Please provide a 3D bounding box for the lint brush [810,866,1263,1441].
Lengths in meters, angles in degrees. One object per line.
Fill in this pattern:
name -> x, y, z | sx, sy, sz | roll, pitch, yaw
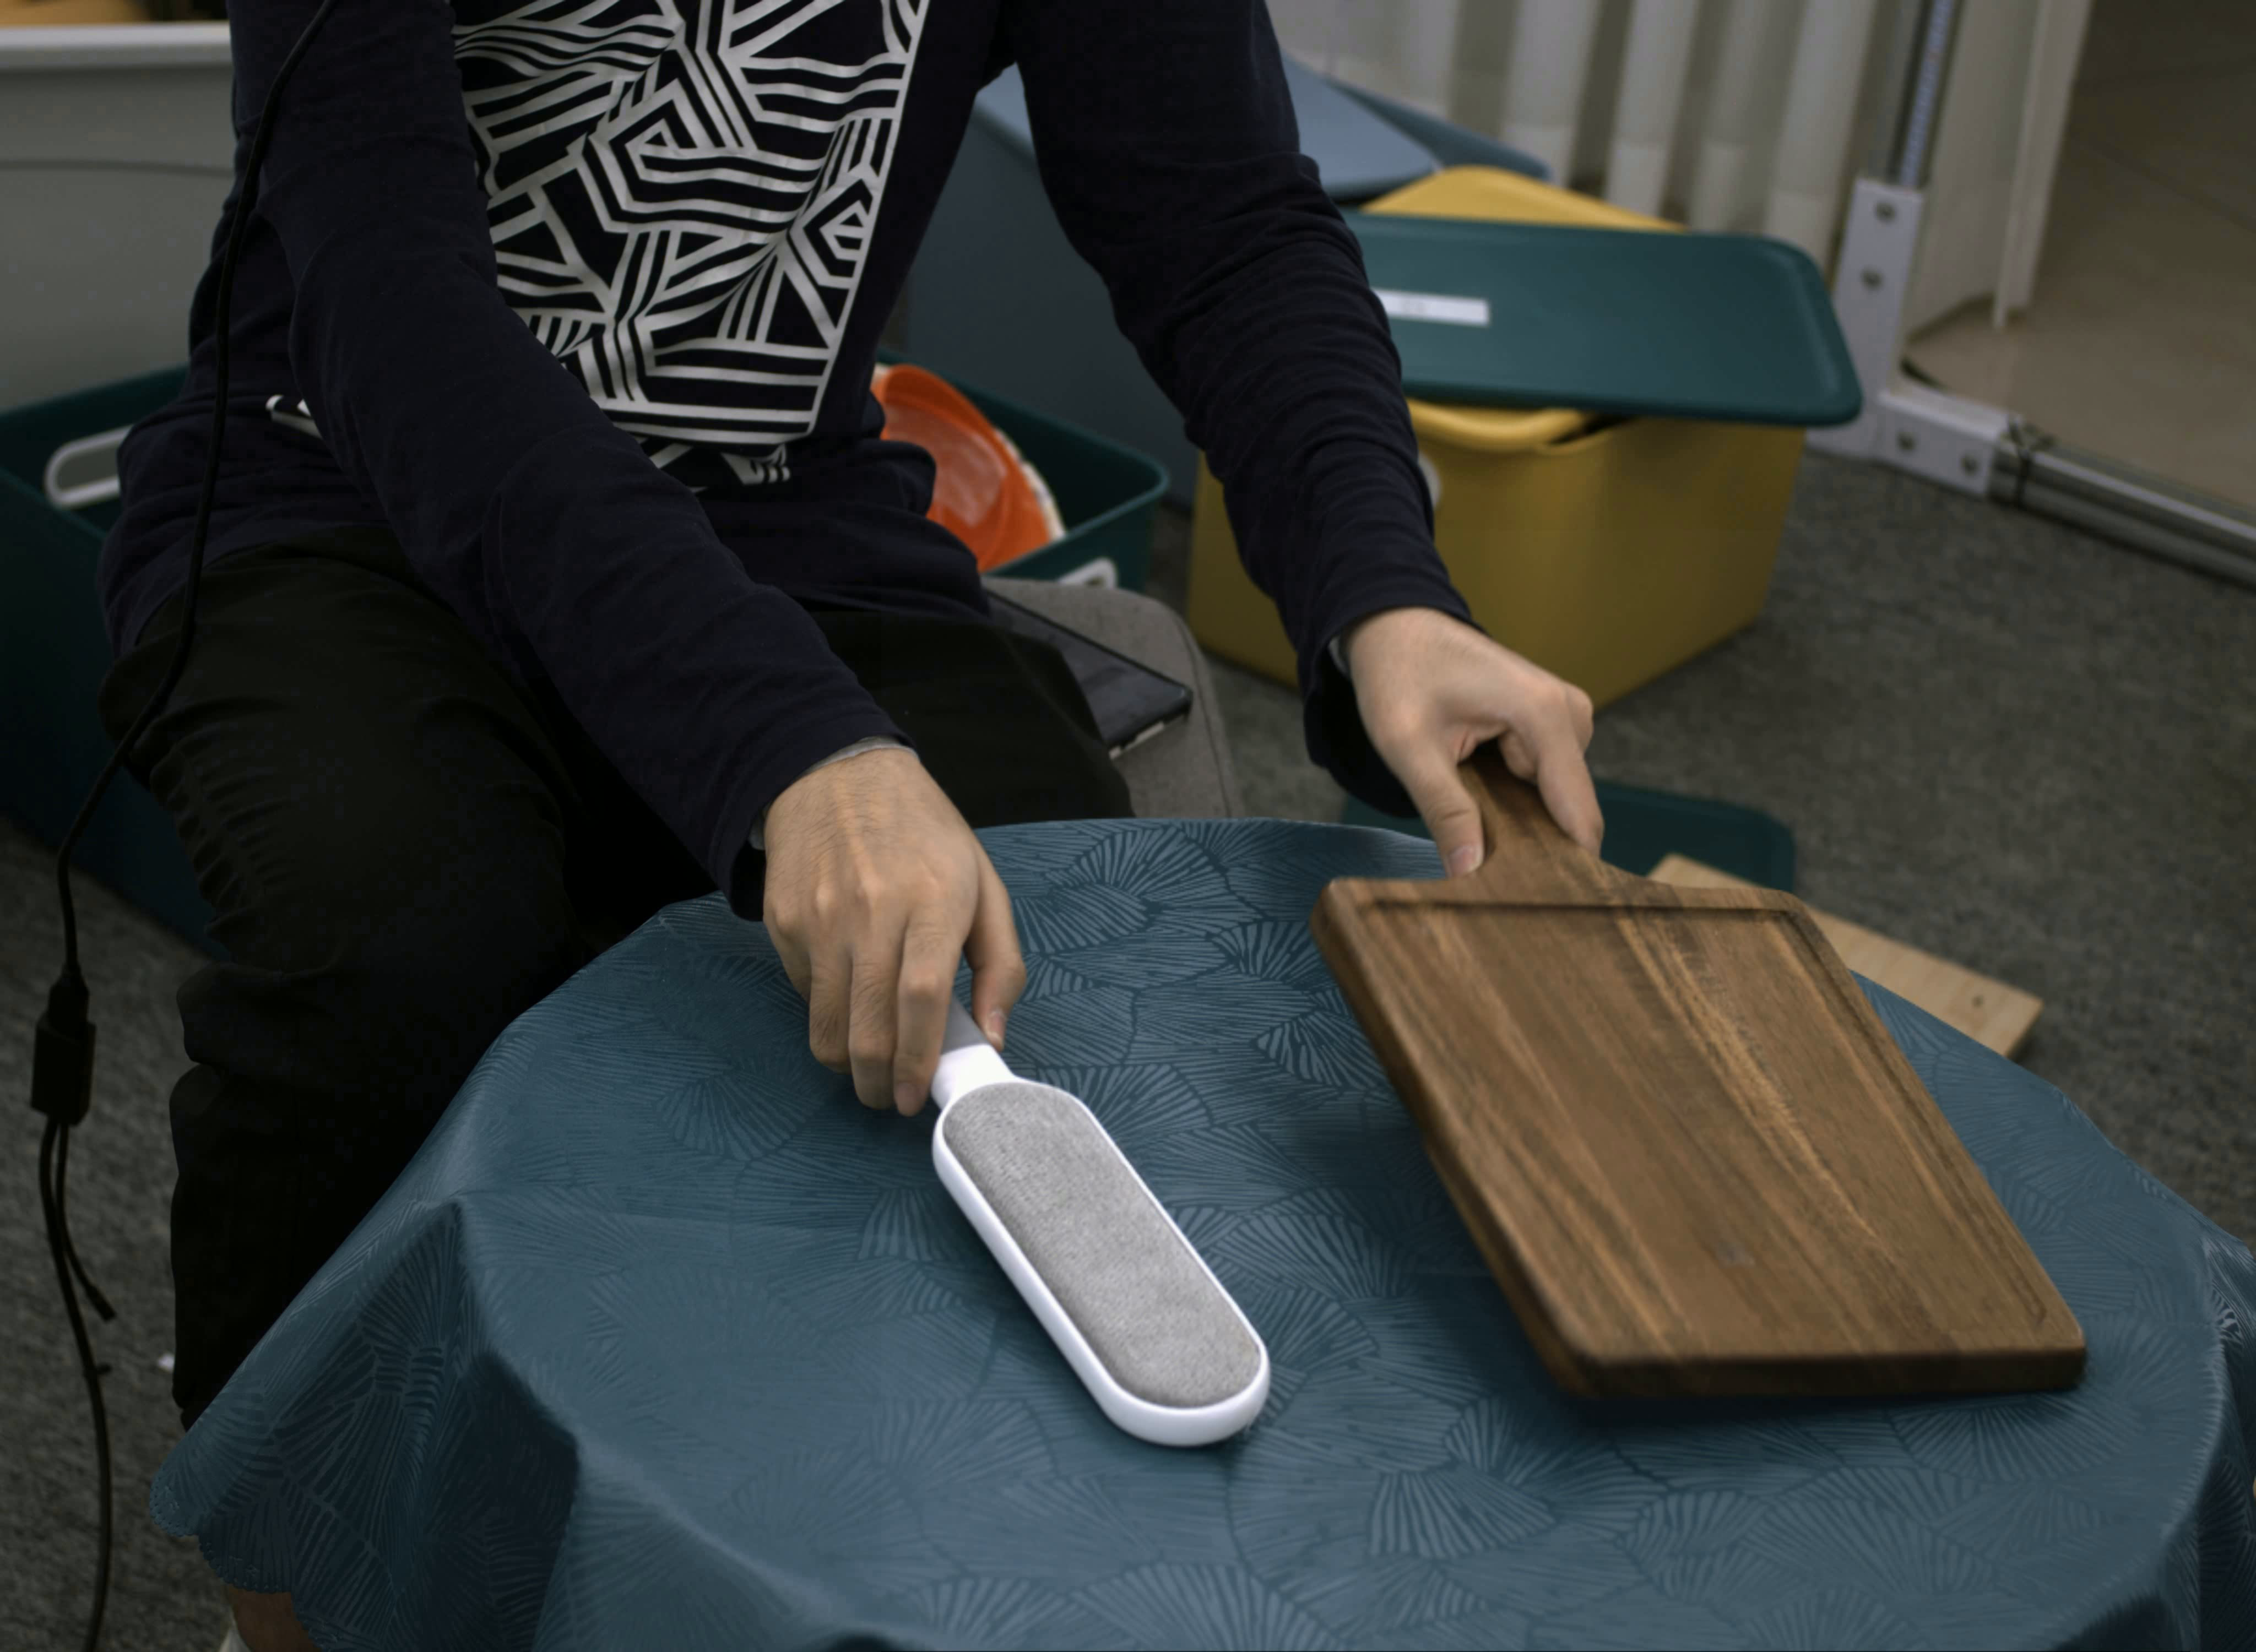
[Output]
lint brush -> -0.038, 0.103, 1.774 | 0.060, 0.021, 0.312 | -21, 41, -16

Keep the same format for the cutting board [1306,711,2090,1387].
cutting board -> 0.175, 0.070, 1.842 | 0.199, 0.023, 0.355 | 3, 35, -24
